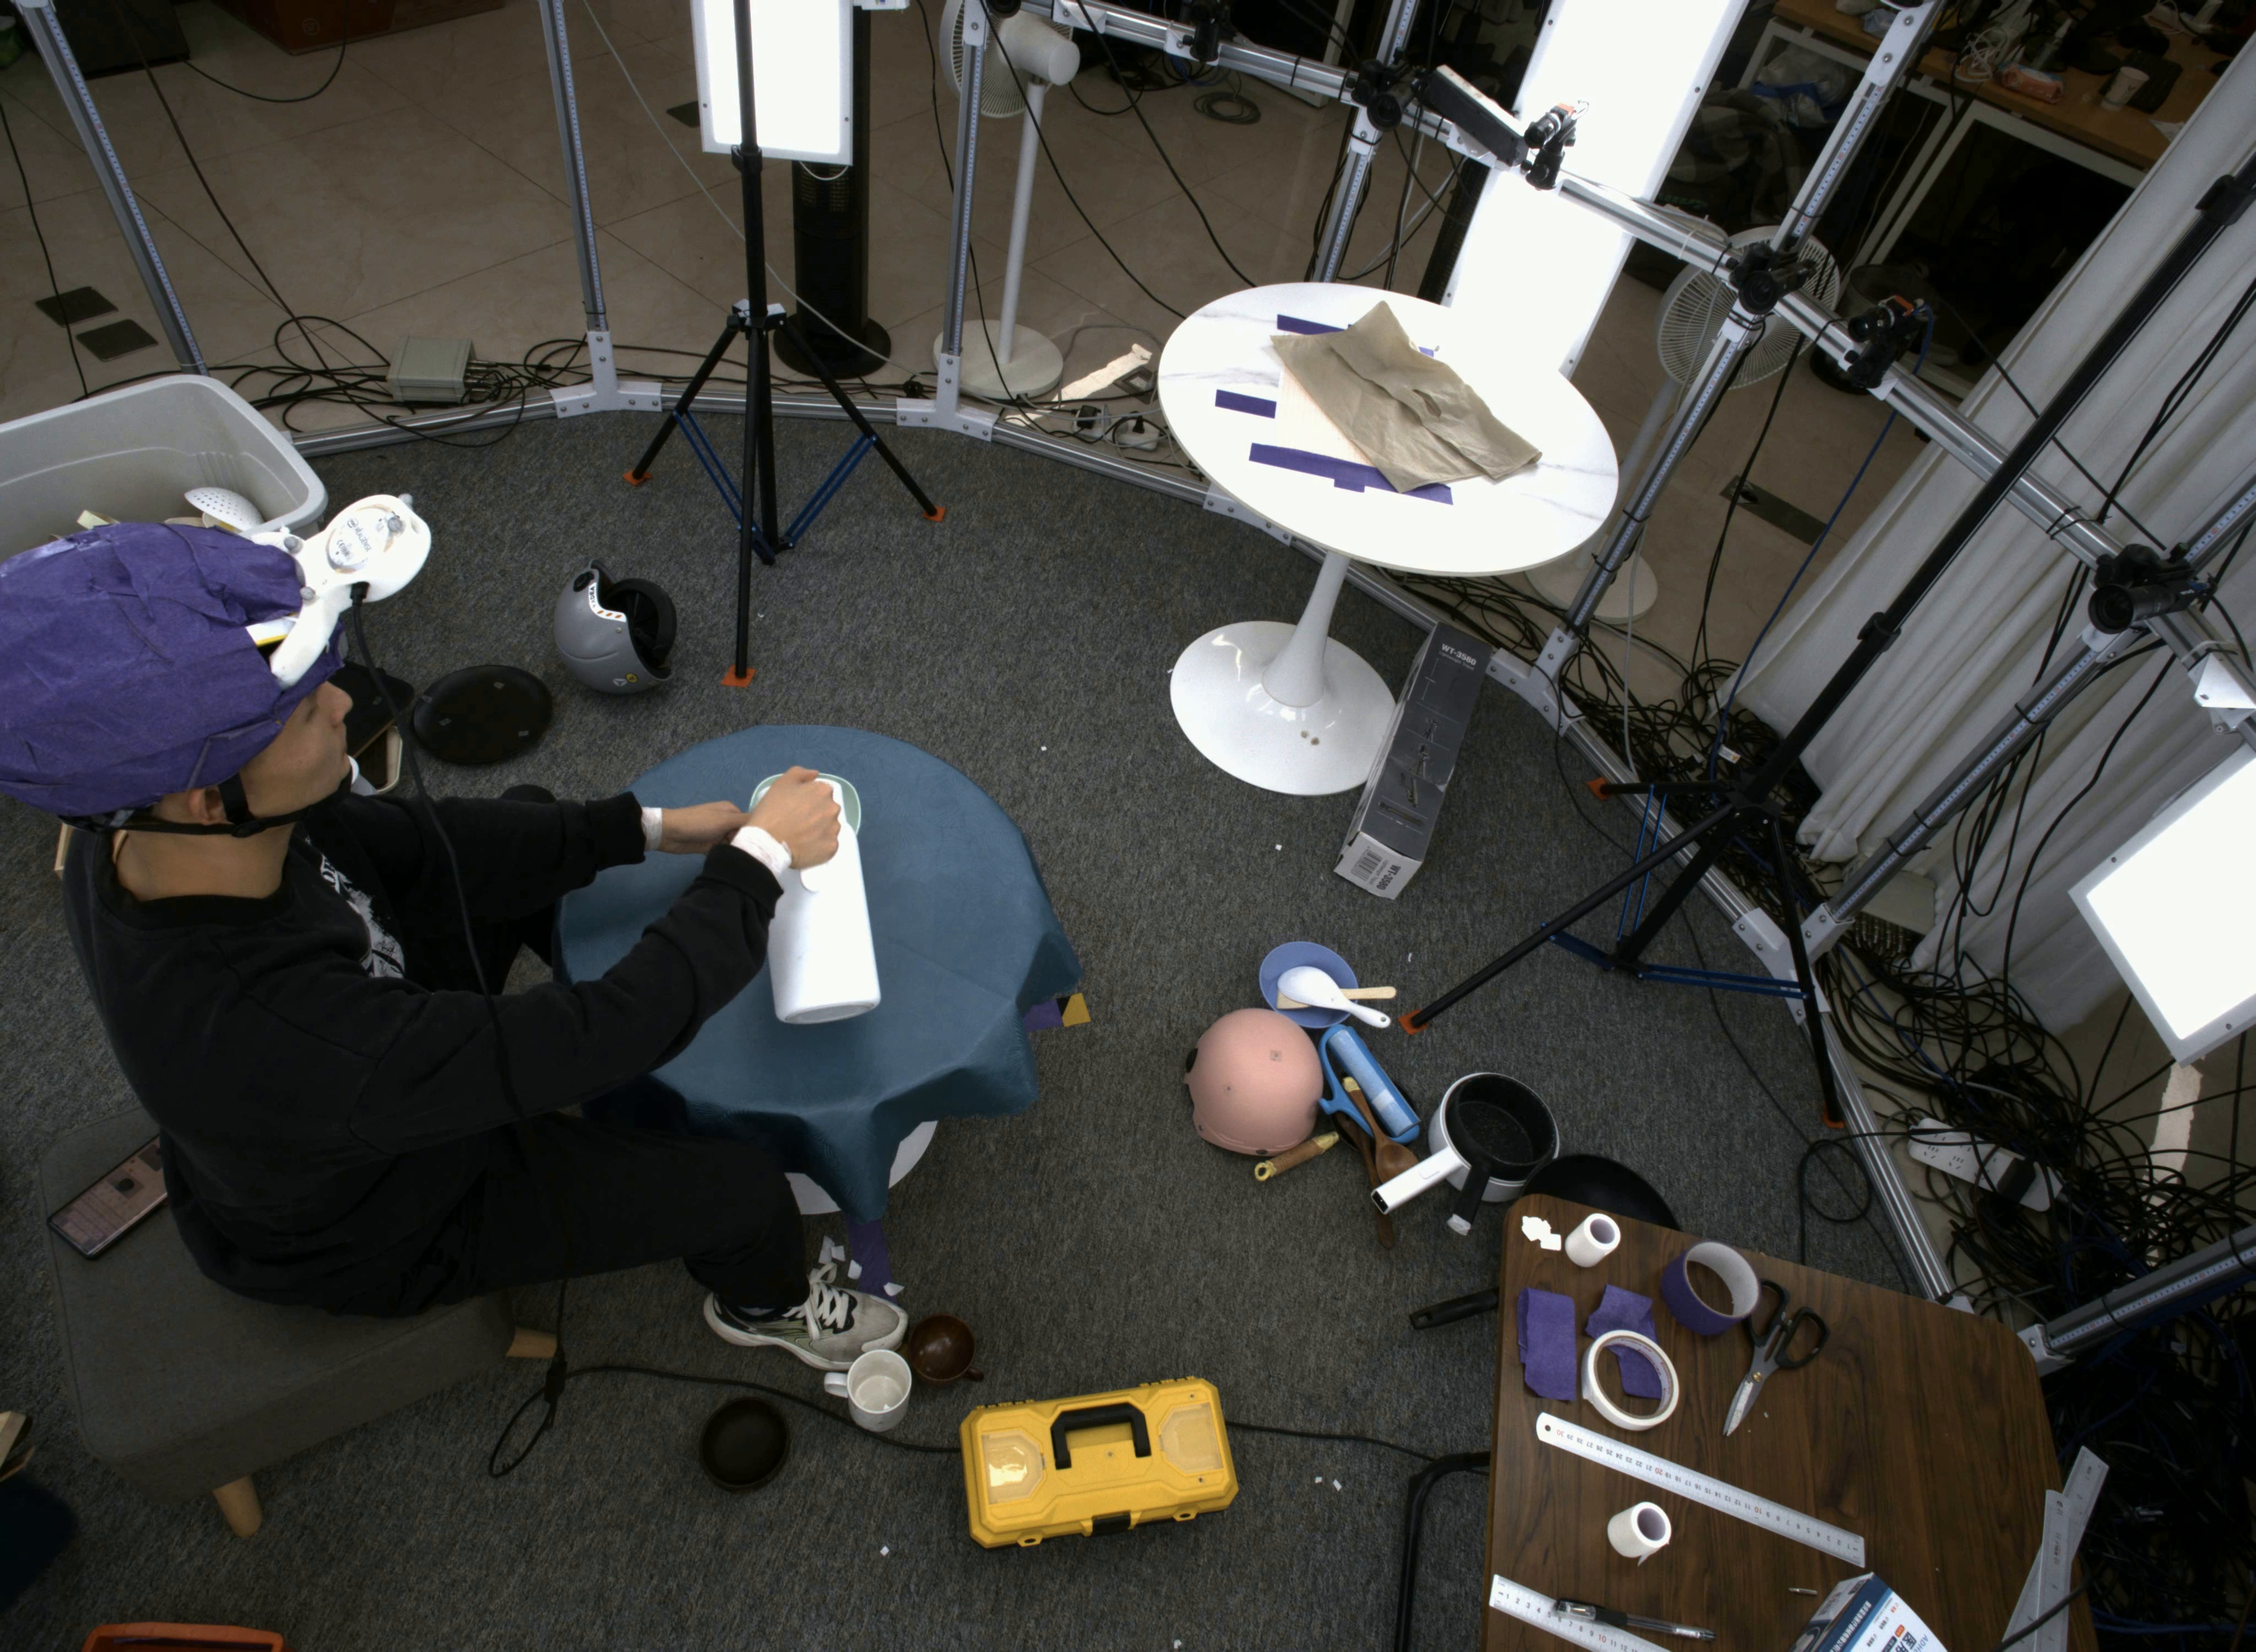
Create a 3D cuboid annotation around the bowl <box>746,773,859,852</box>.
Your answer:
[{"bbox_3d":[-0.411,0.002,1.644,0.151,0.060,0.148,8,50,-8],"label":"bowl"}]

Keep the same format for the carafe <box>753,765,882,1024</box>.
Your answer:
[{"bbox_3d":[-0.353,0.073,1.457,0.124,0.173,0.267,-6,74,-17],"label":"carafe"}]
